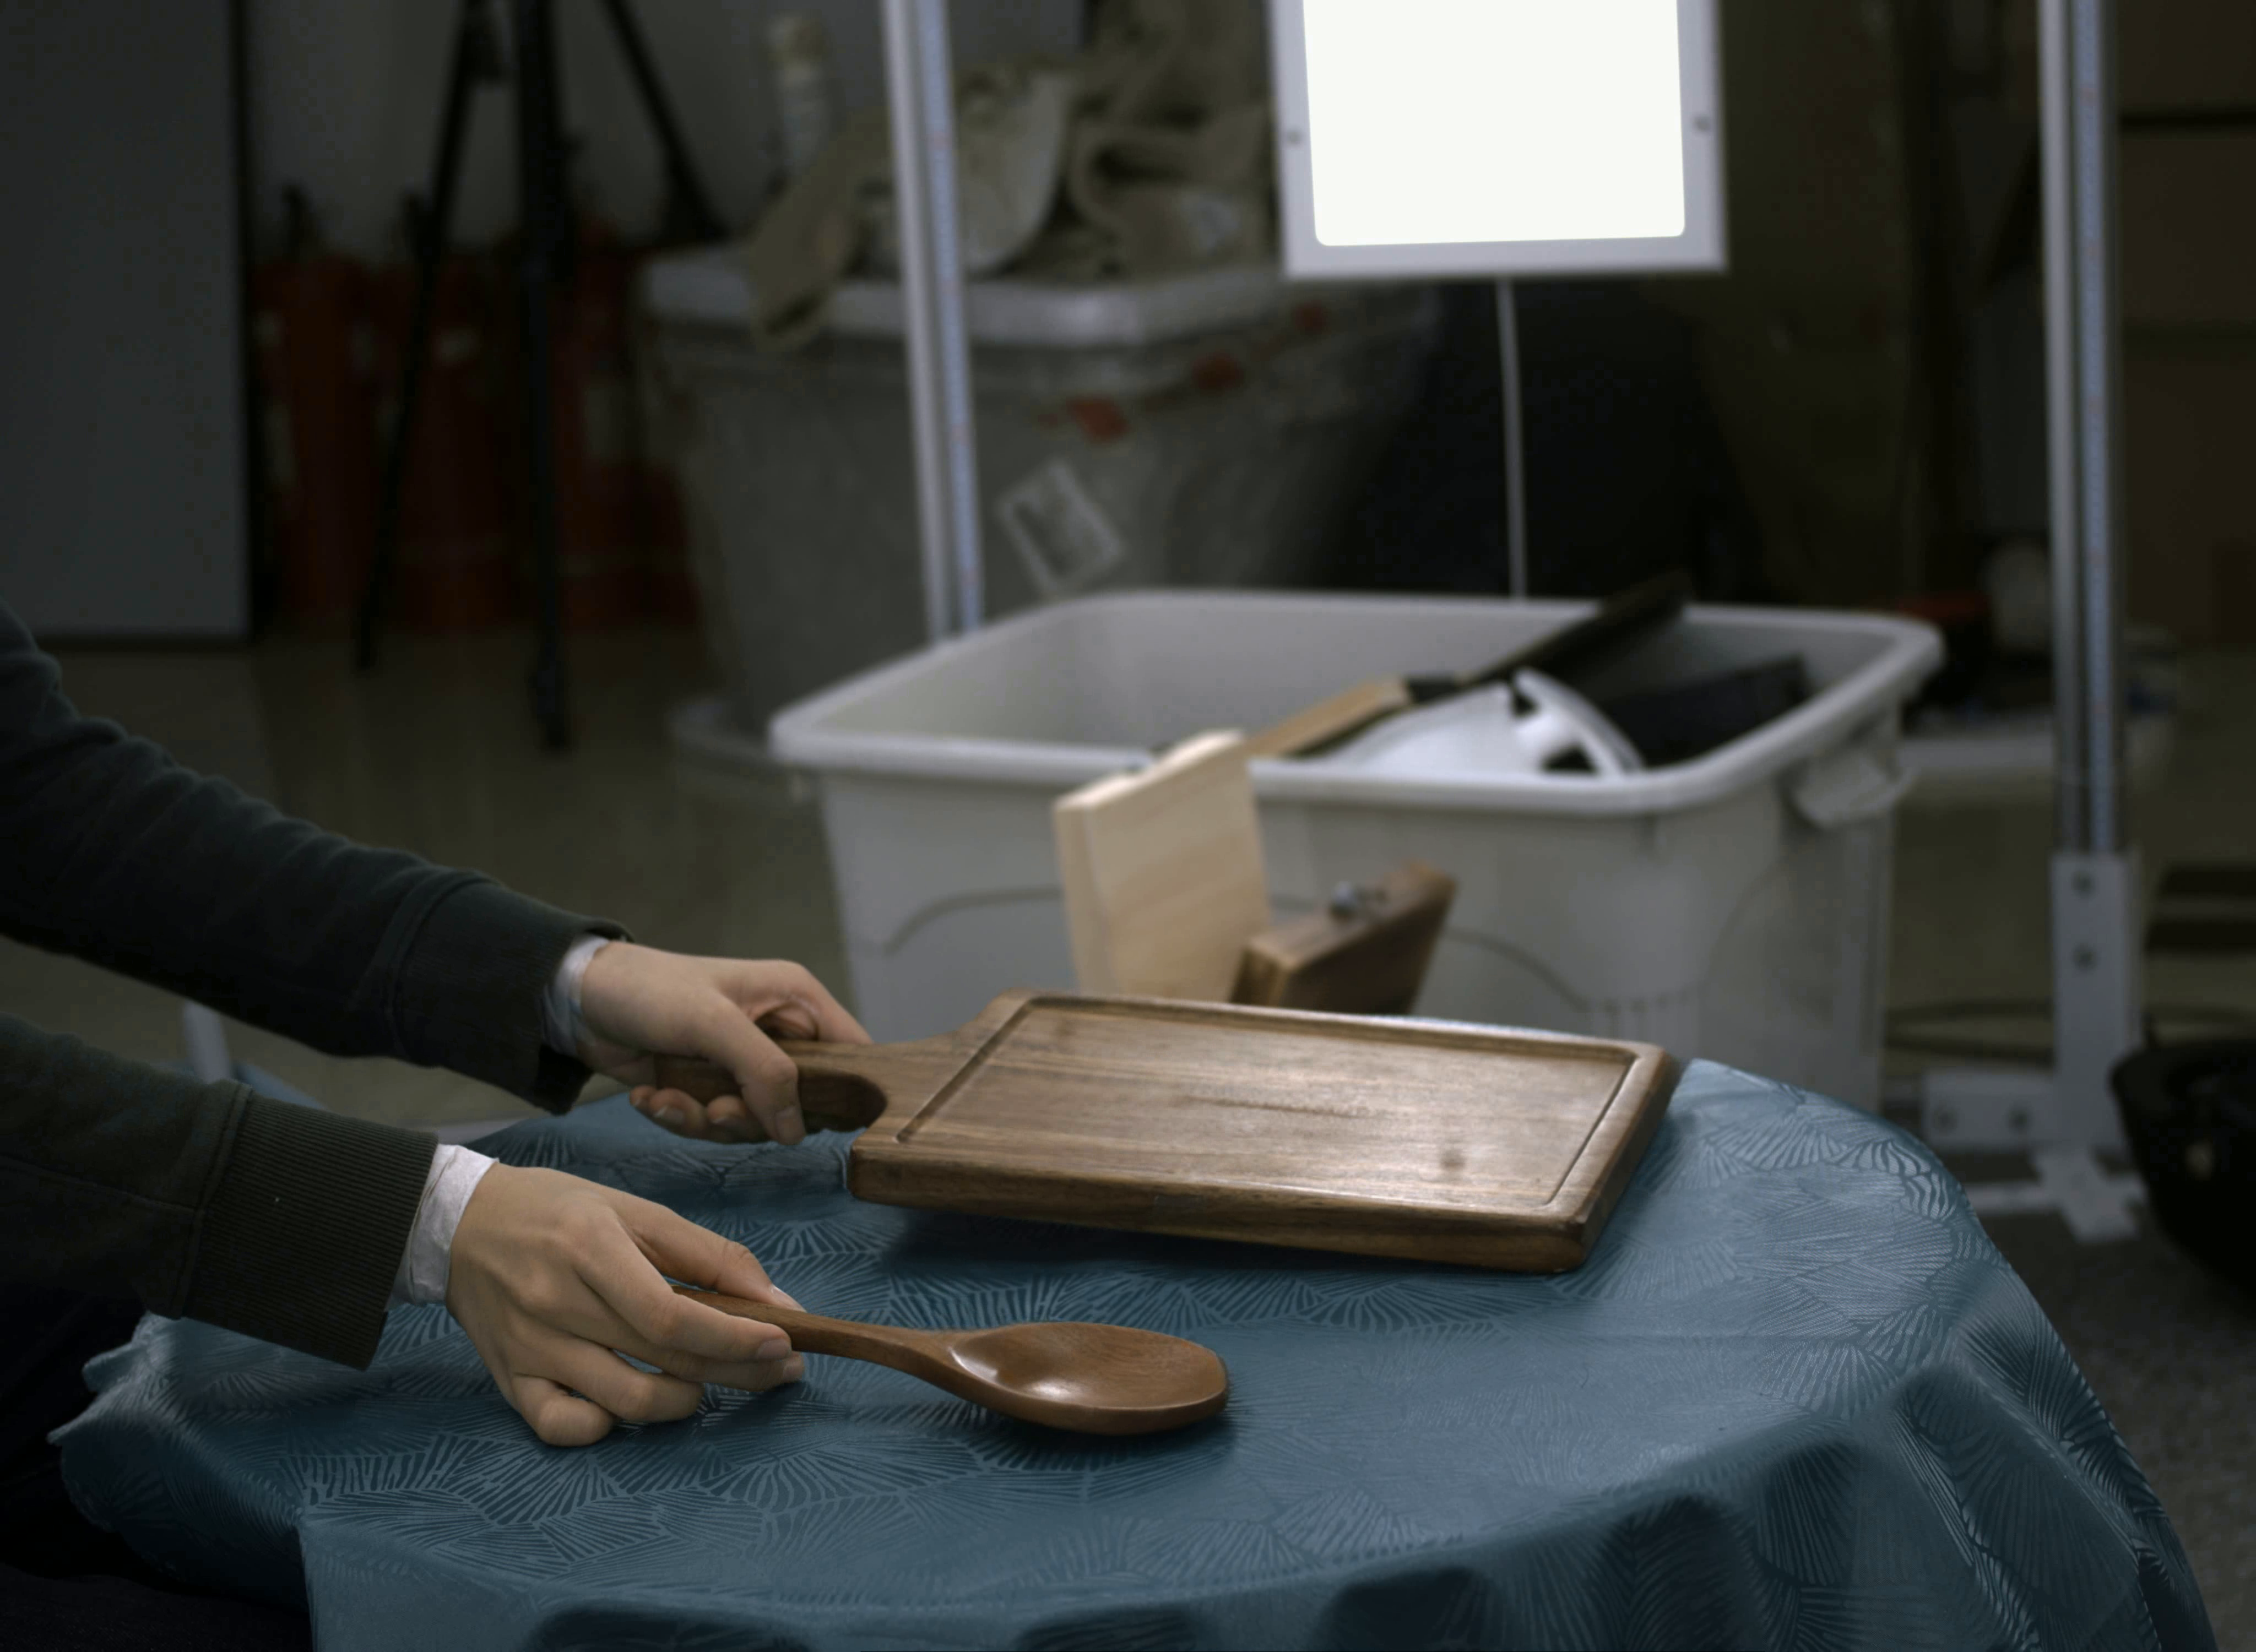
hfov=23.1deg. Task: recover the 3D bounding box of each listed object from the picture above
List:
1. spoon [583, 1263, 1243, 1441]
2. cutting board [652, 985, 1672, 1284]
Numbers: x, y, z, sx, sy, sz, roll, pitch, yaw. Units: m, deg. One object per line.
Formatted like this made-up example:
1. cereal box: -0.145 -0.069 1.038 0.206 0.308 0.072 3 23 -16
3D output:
1. spoon: -0.068 0.161 1.702 0.218 0.017 0.074 9 19 20
2. cutting board: 0.003 0.099 1.906 0.356 0.023 0.198 4 18 16
